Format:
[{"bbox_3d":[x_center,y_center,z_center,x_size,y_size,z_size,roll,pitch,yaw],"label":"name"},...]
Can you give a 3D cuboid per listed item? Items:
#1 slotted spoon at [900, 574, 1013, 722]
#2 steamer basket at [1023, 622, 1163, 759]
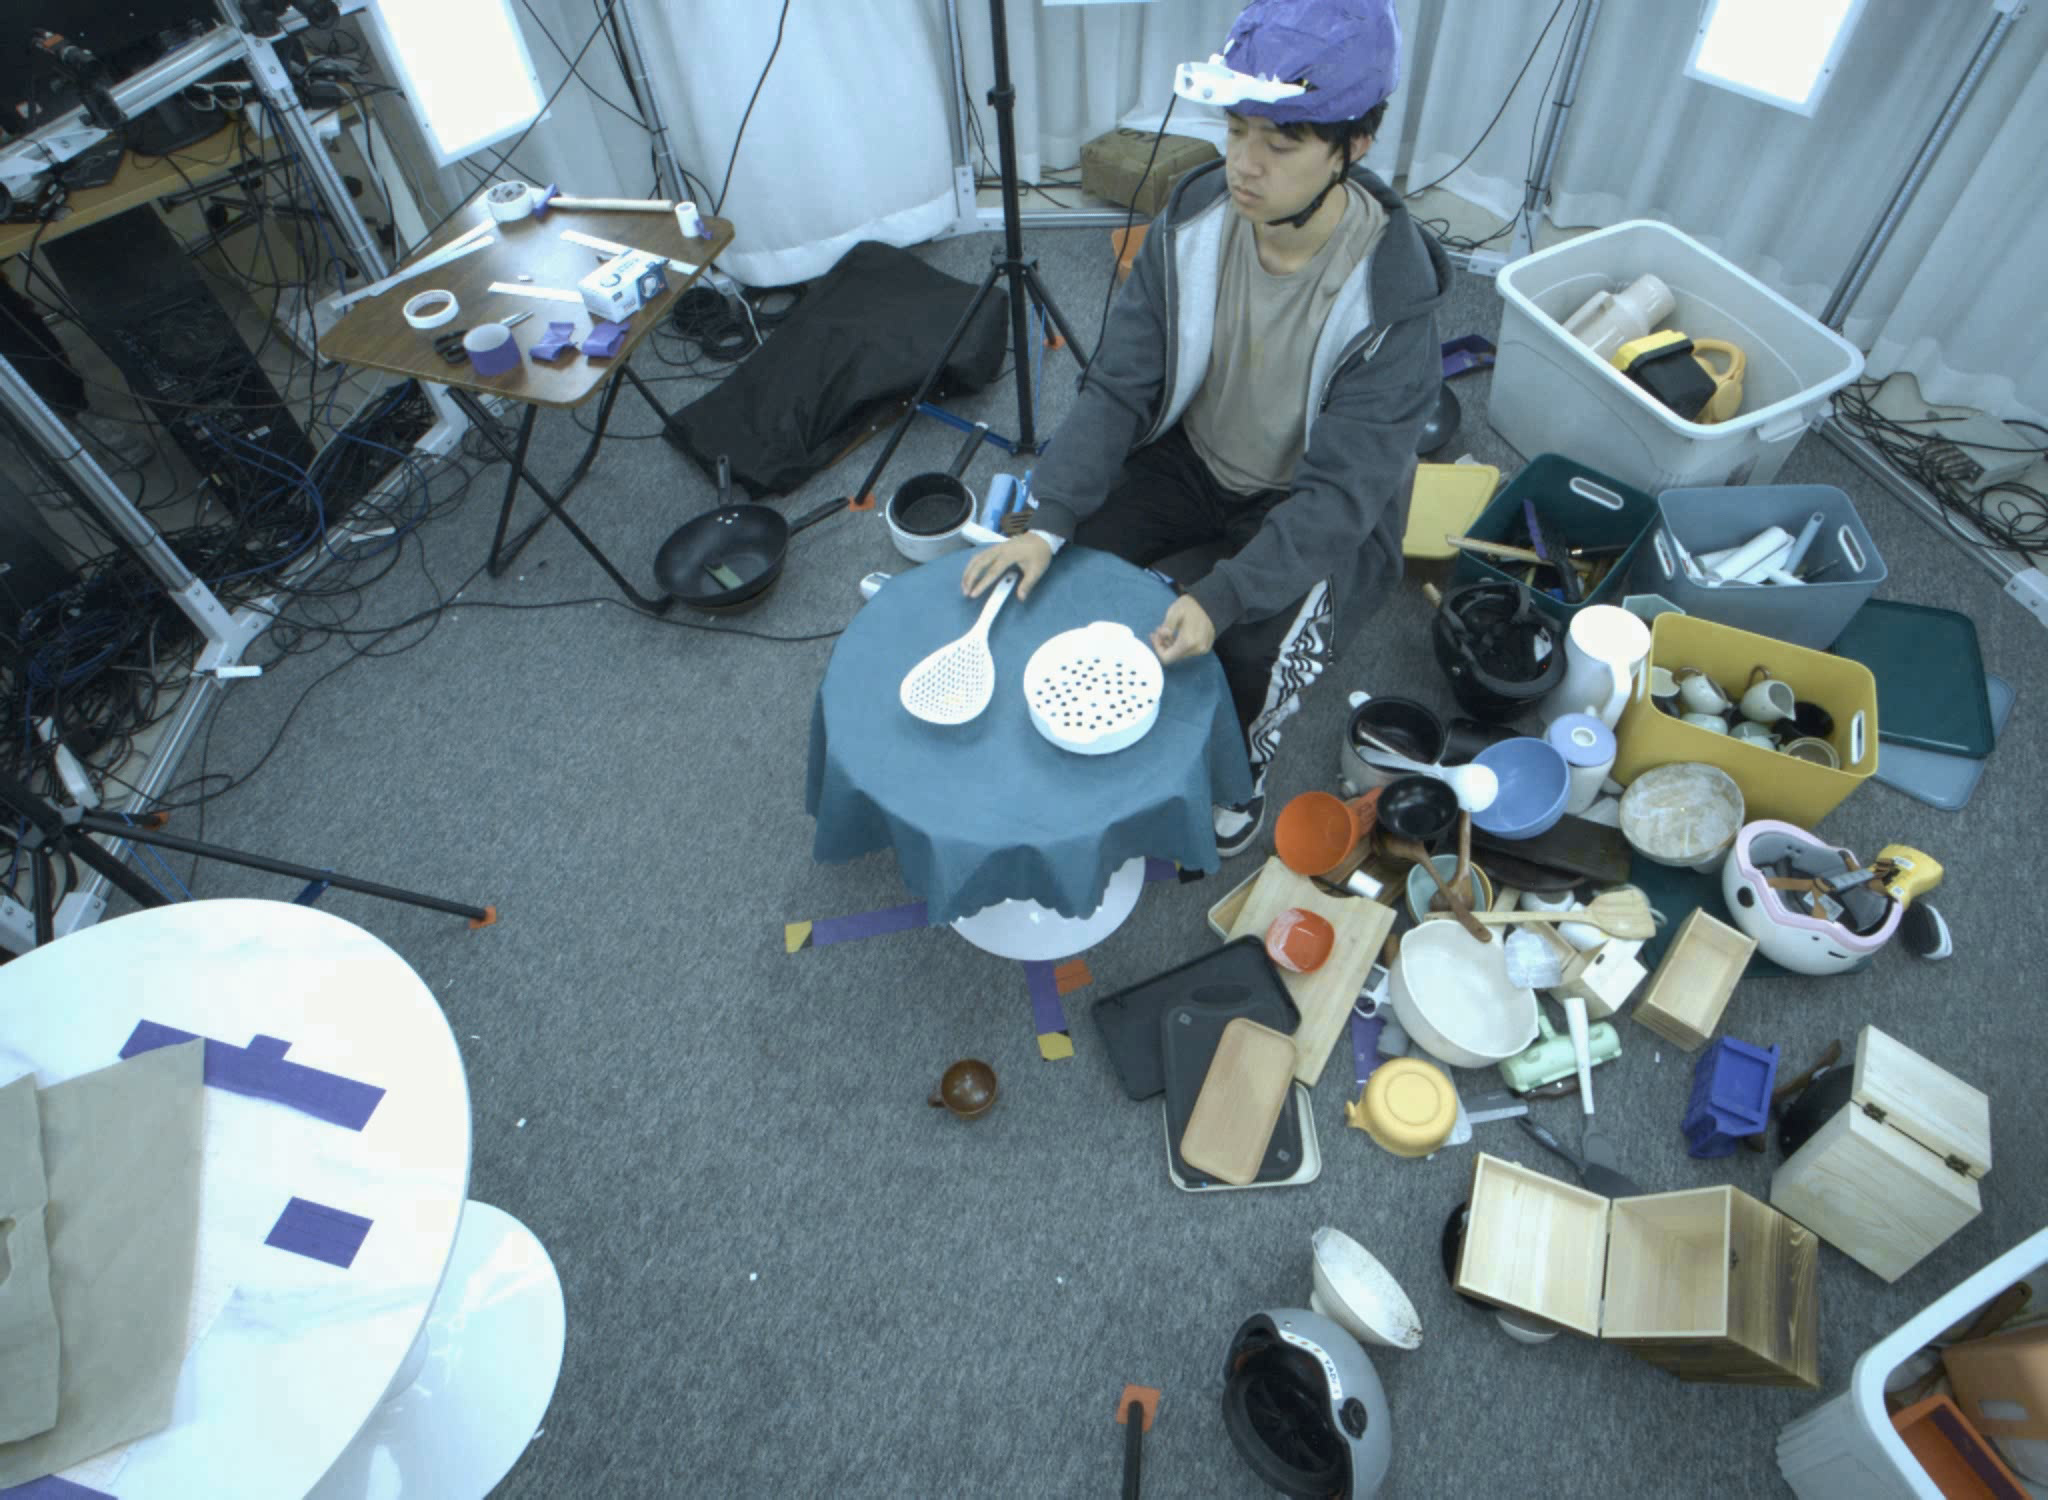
[{"bbox_3d":[-0.075,-0.165,1.885,0.135,0.051,0.347,13,55,15],"label":"slotted spoon"},{"bbox_3d":[0.101,-0.081,1.802,0.200,0.070,0.230,13,58,11],"label":"steamer basket"}]
